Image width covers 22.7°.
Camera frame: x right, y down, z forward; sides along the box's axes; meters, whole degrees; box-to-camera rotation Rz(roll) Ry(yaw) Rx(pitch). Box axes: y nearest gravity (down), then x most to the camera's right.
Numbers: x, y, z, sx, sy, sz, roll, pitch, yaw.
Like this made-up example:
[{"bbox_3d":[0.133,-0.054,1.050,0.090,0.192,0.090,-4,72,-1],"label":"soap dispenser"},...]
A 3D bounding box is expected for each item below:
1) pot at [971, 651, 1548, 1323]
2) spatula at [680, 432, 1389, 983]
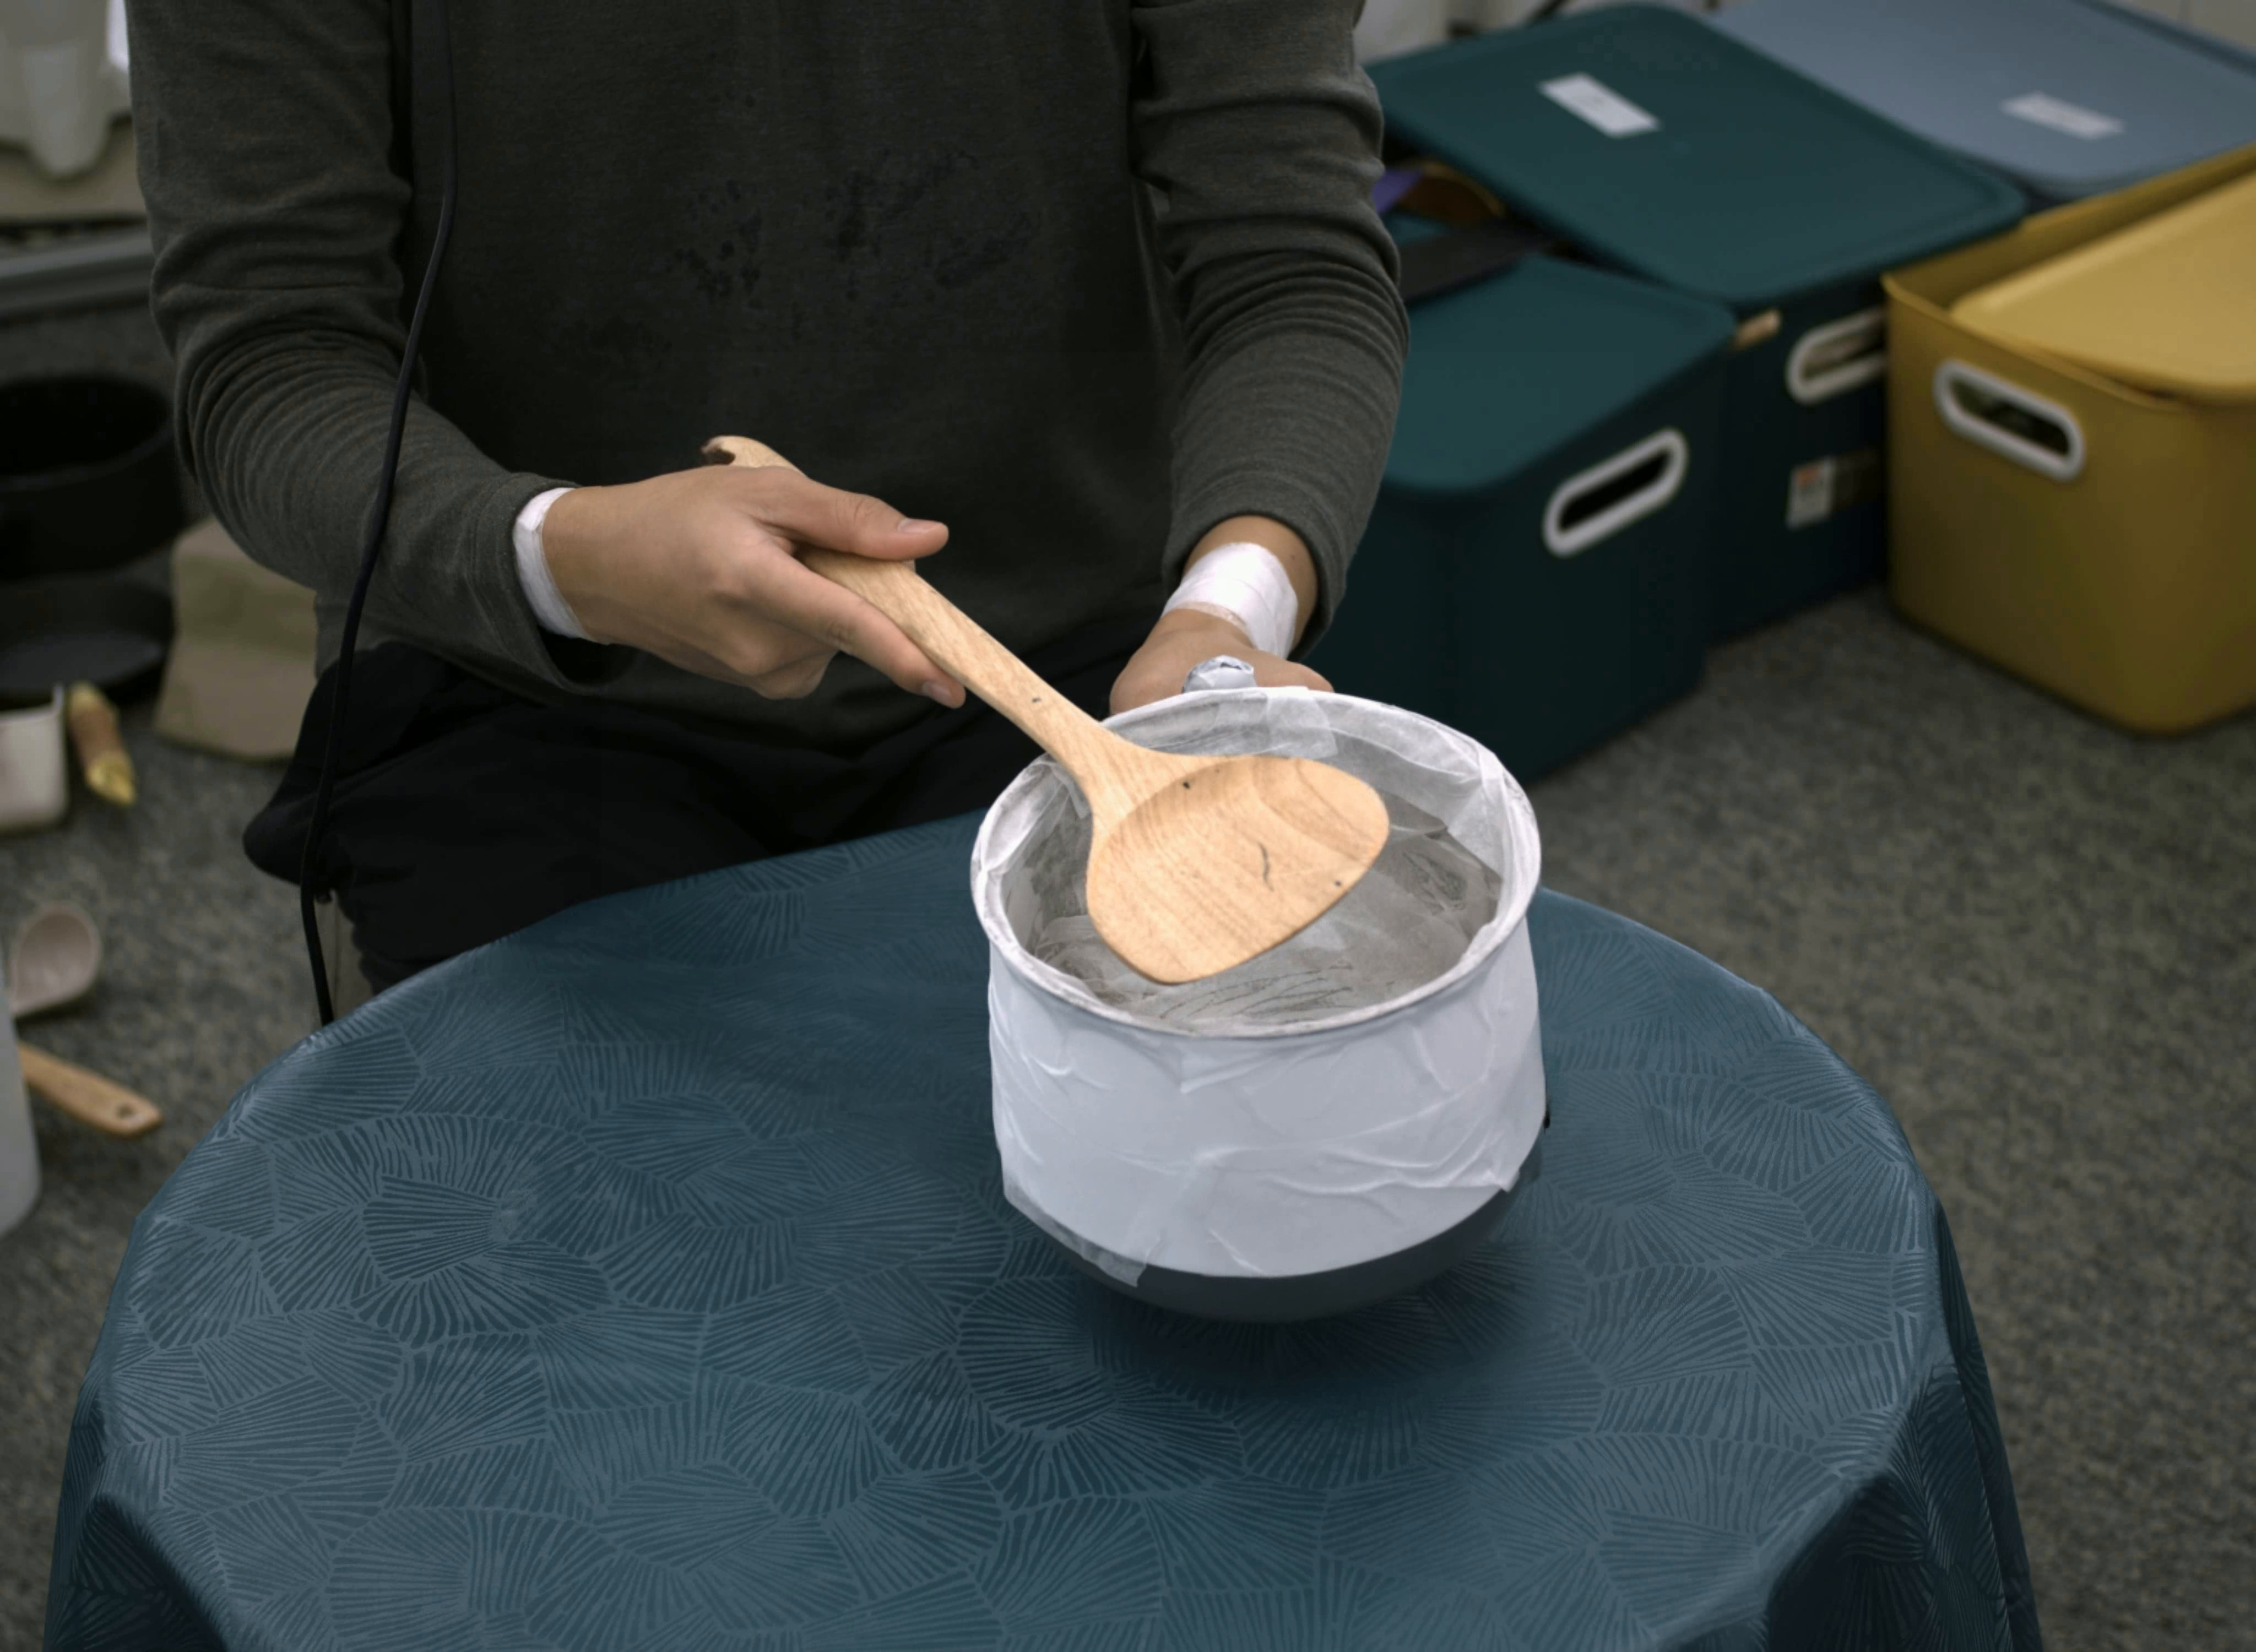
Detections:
[{"bbox_3d":[0.040,0.042,1.790,0.178,0.135,0.237,-6,36,-4],"label":"pot"},{"bbox_3d":[-0.051,-0.049,1.809,0.096,0.018,0.392,-32,40,-17],"label":"spatula"}]
